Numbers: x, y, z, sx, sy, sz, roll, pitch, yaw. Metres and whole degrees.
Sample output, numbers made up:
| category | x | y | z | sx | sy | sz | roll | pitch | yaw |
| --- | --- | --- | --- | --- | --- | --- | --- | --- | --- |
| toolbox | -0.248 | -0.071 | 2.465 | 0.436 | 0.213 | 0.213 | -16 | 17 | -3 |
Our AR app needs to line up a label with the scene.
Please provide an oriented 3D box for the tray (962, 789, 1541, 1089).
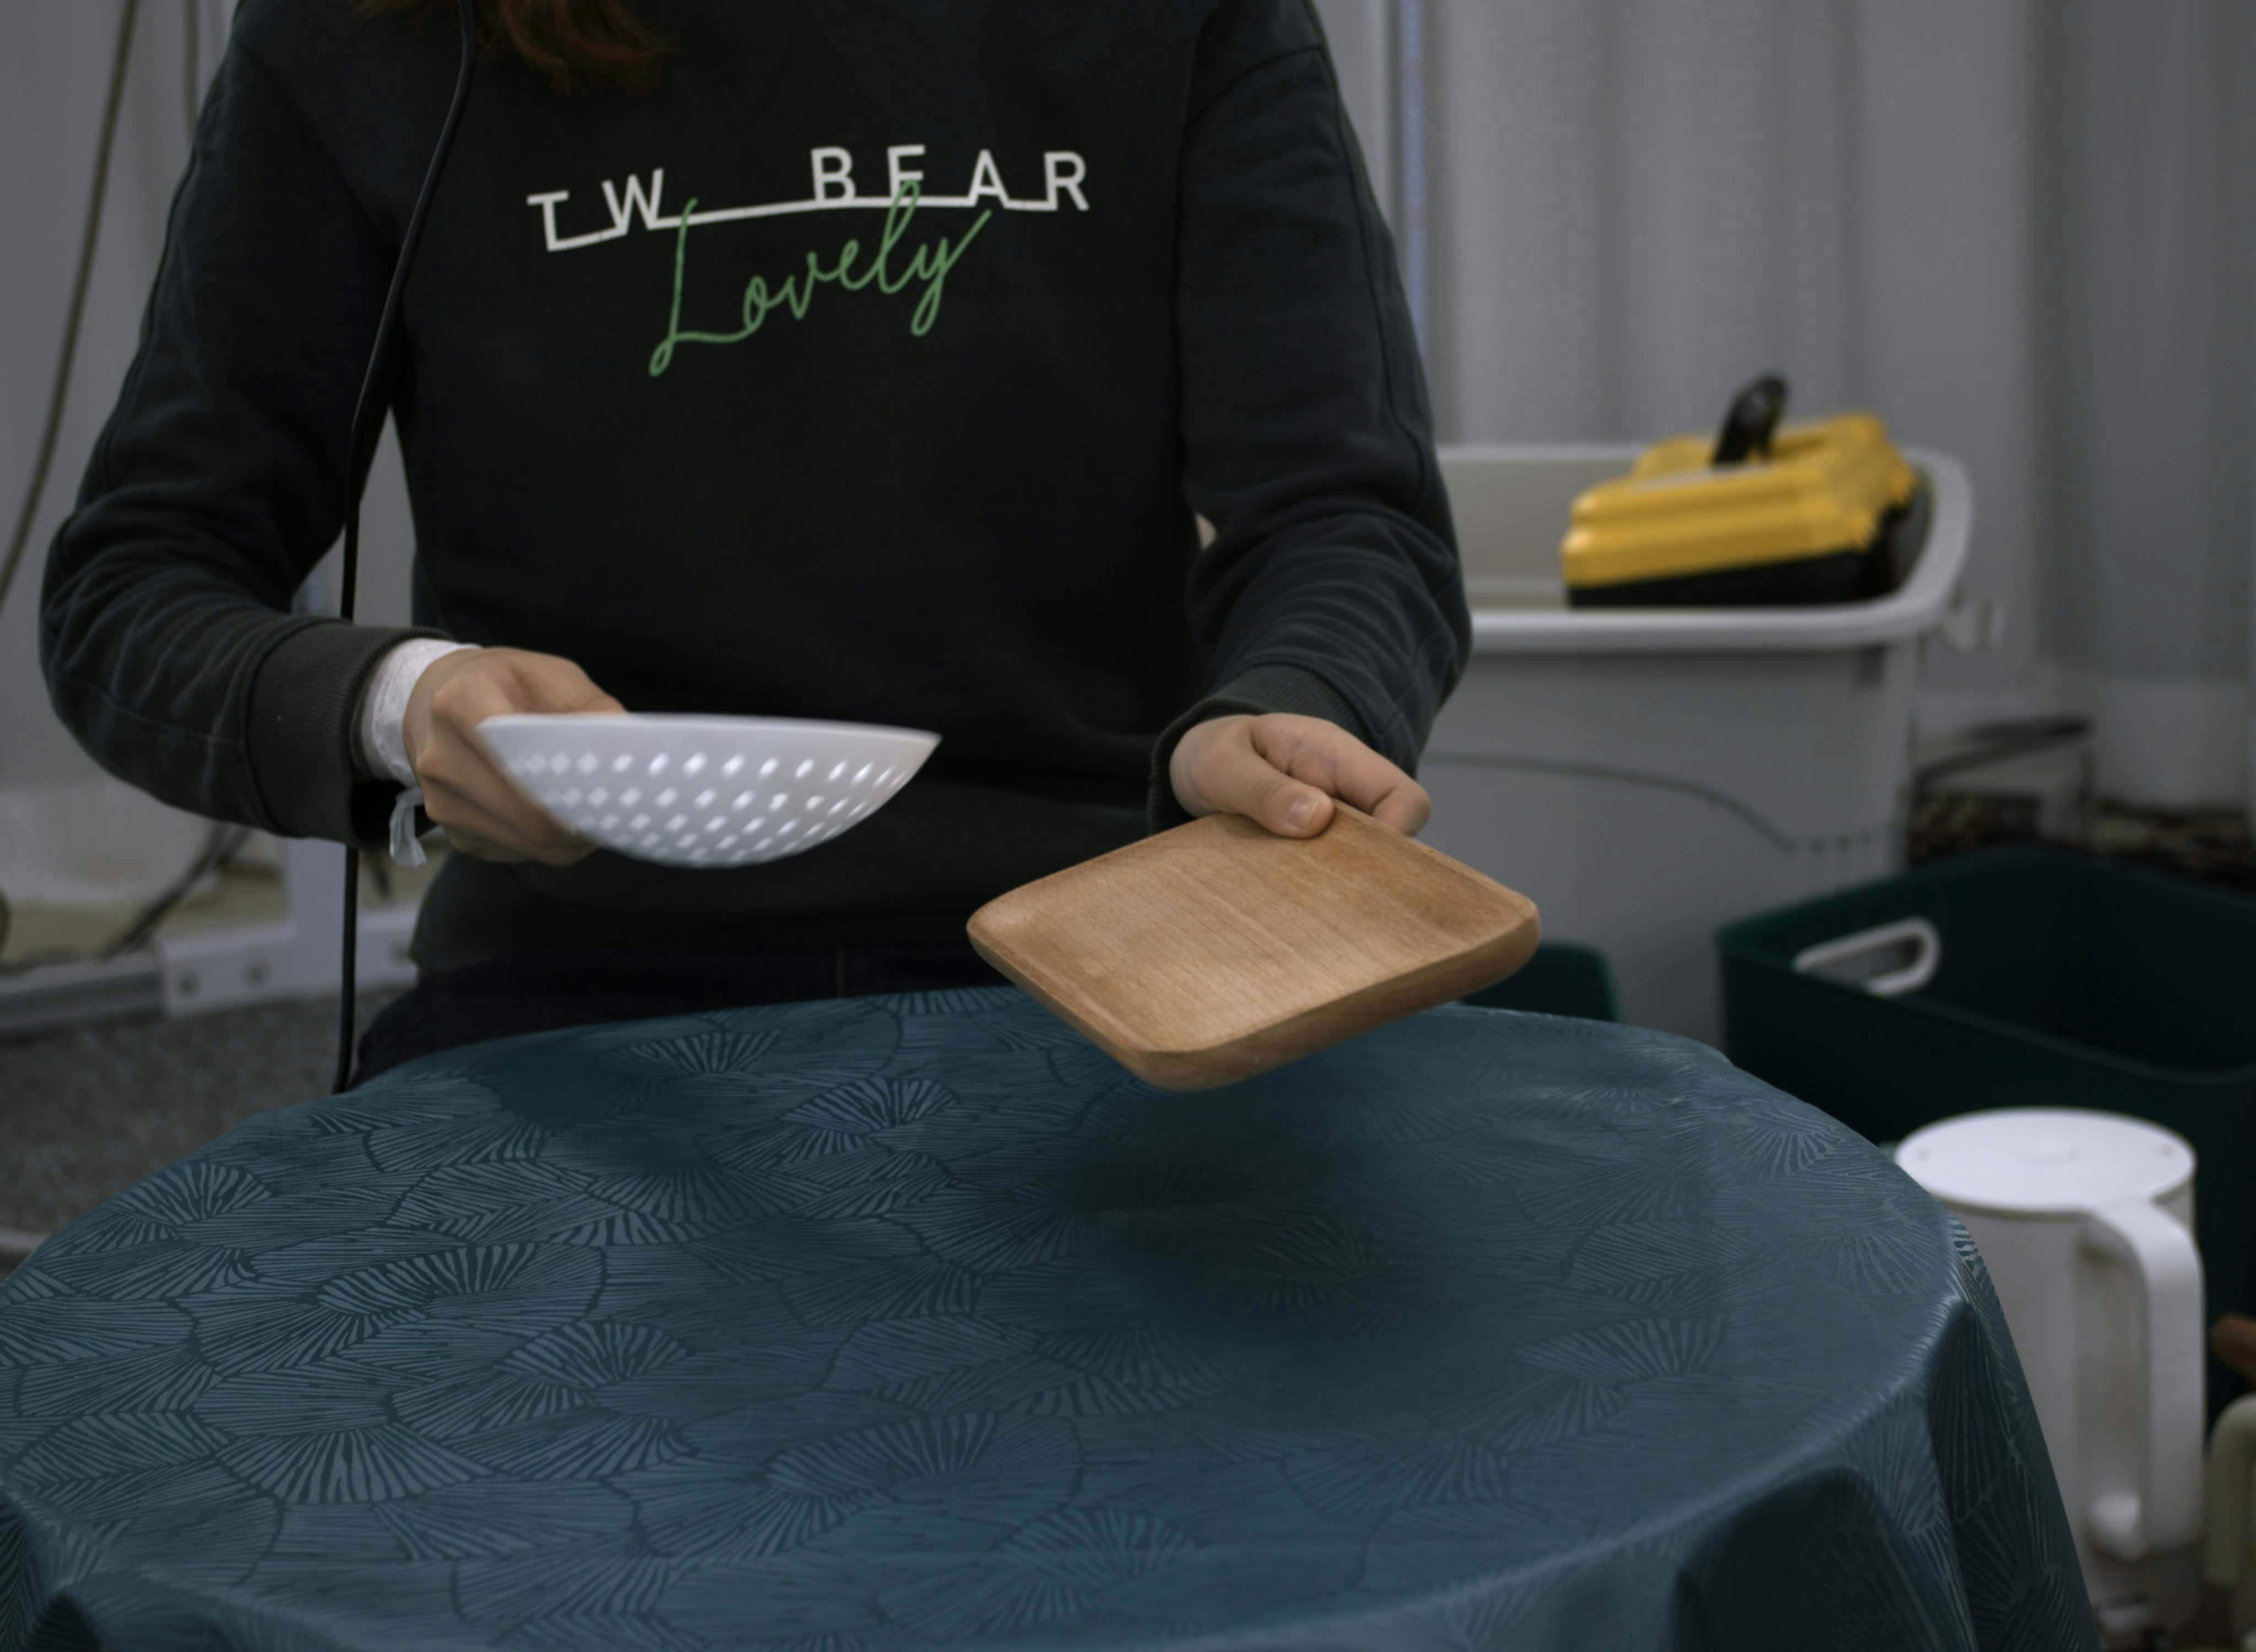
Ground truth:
| category | x | y | z | sx | sy | sz | roll | pitch | yaw |
| --- | --- | --- | --- | --- | --- | --- | --- | --- | --- |
| tray | 0.034 | 0.032 | 1.652 | 0.130 | 0.023 | 0.252 | -18 | 12 | -12 |

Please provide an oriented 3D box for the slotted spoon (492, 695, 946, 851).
| category | x | y | z | sx | sy | sz | roll | pitch | yaw |
| --- | --- | --- | --- | --- | --- | --- | --- | --- | --- |
| slotted spoon | -0.154 | -0.020 | 1.731 | 0.135 | 0.046 | 0.351 | 4 | 1 | -17 |
